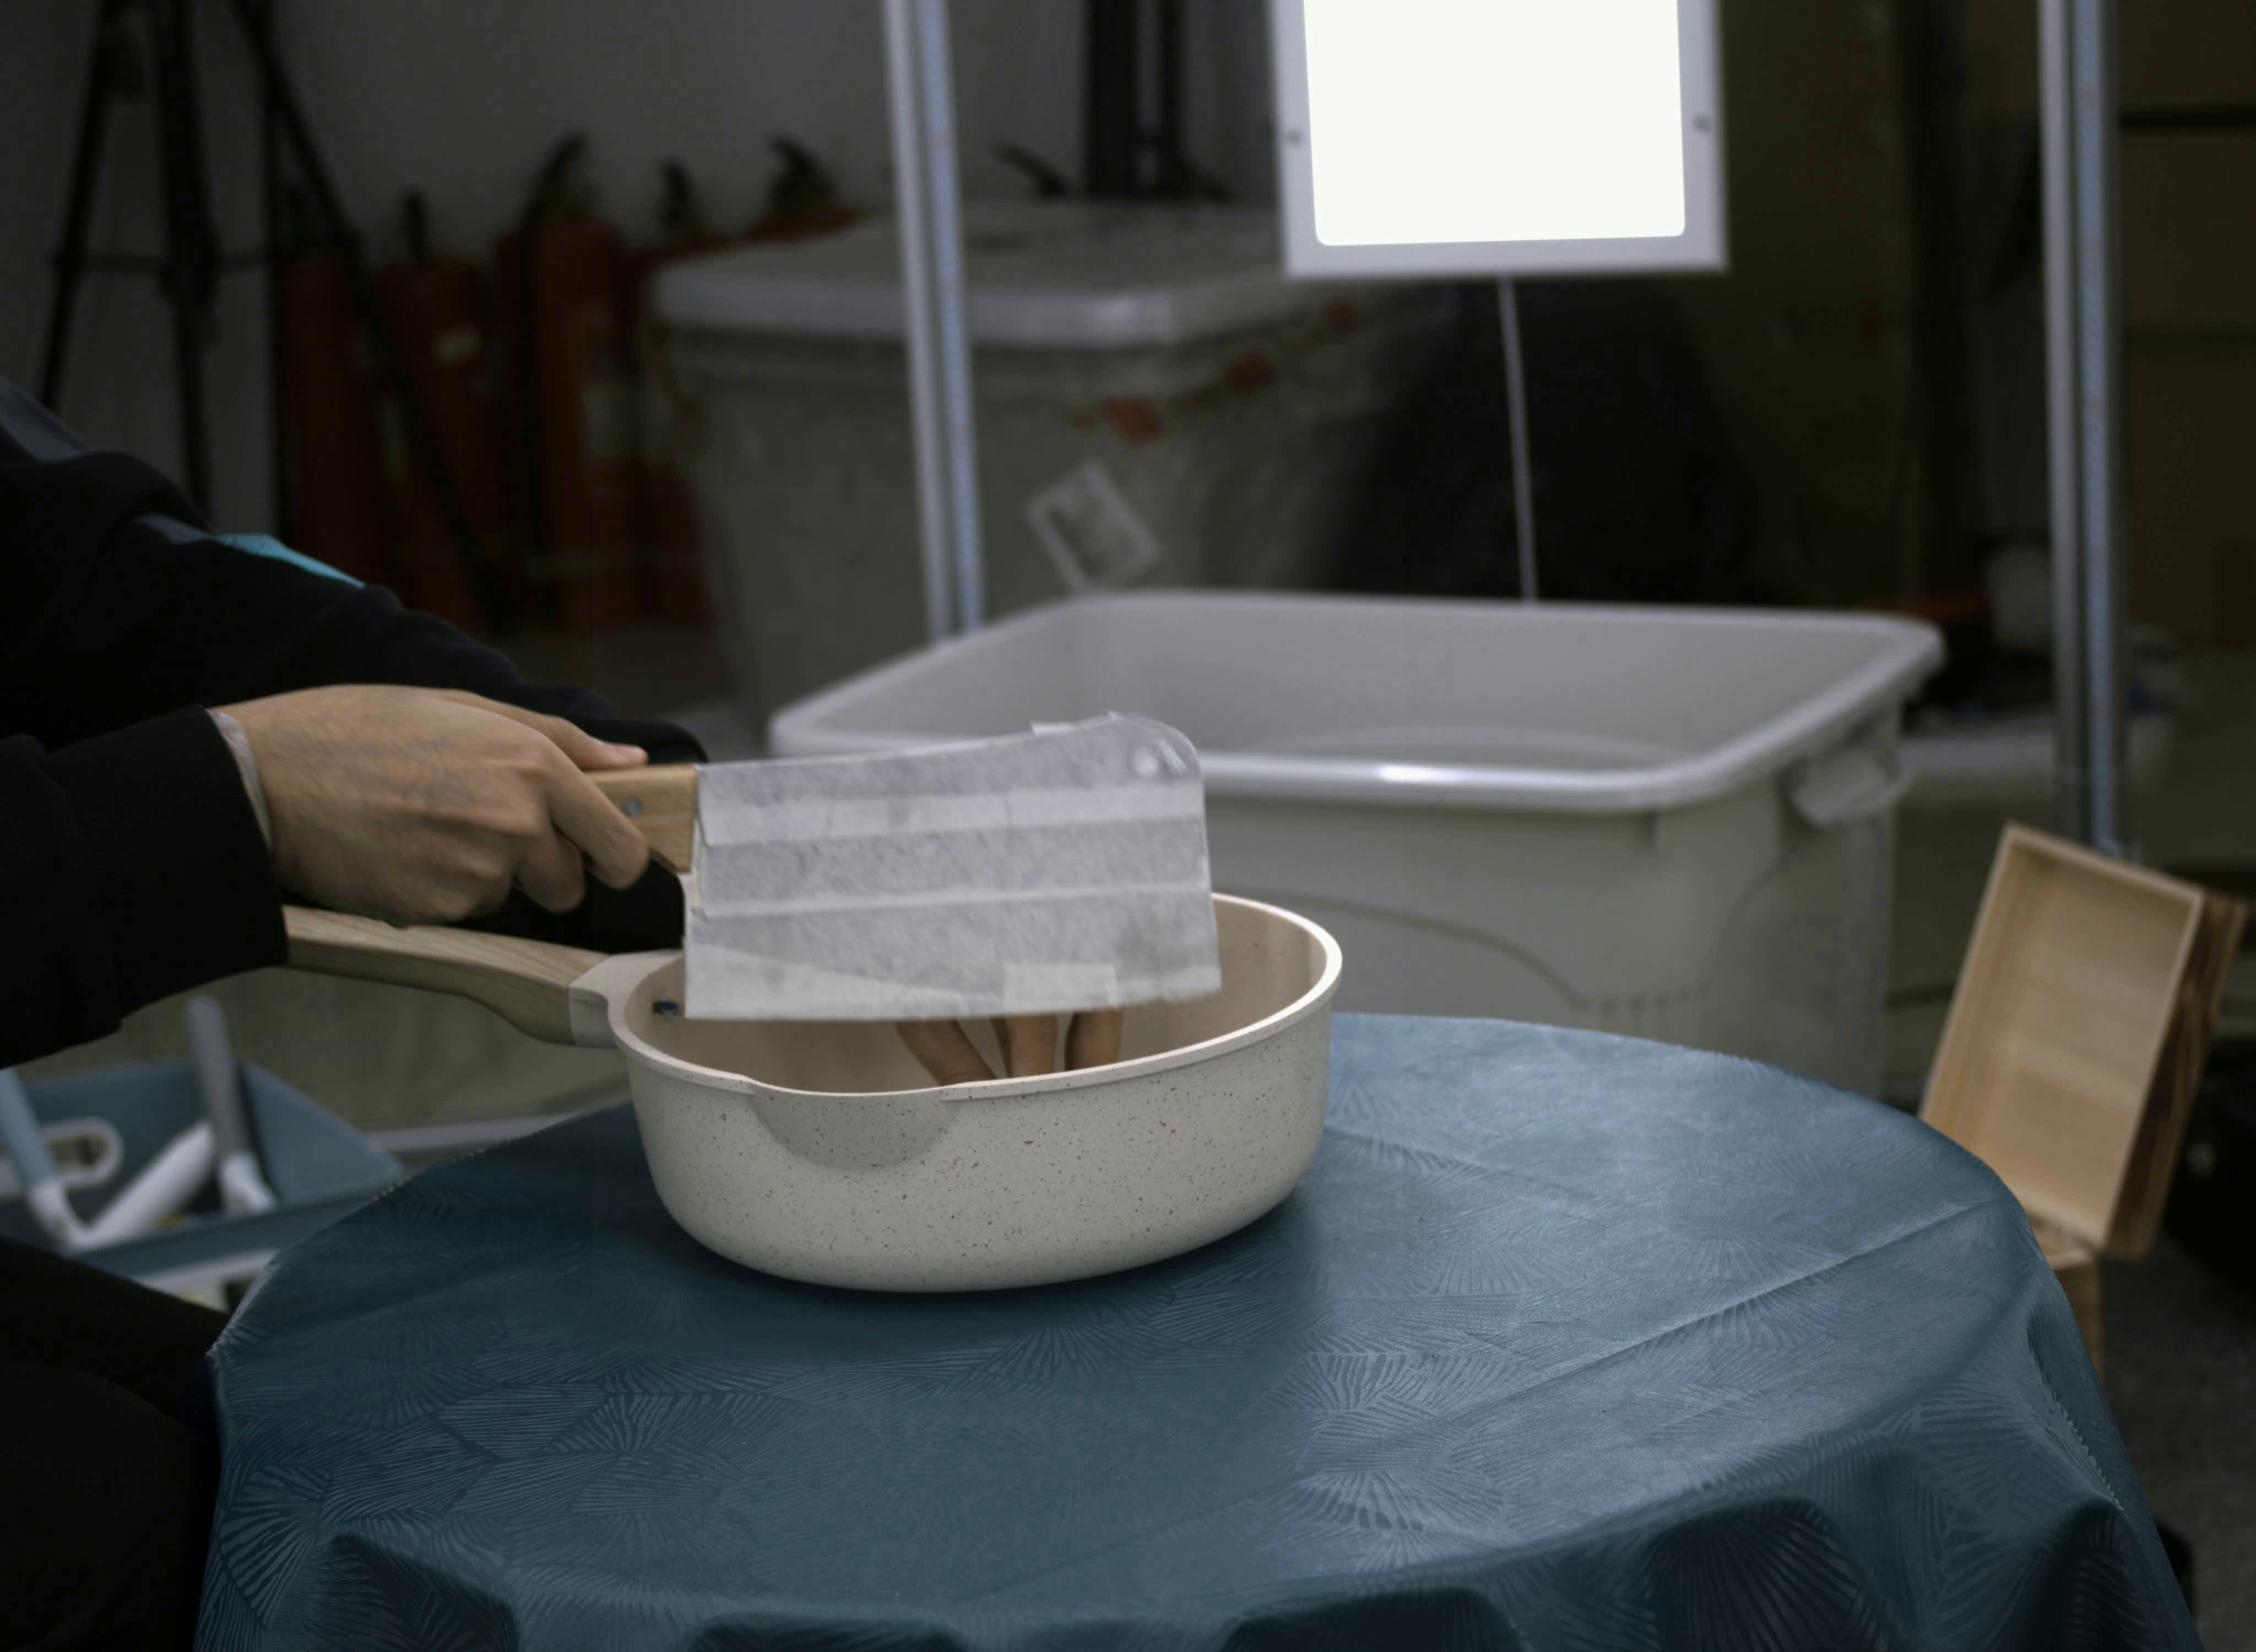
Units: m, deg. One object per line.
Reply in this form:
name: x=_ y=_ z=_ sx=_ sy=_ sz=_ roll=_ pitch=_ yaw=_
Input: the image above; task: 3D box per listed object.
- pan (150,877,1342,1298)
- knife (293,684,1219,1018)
pan: x=-0.136 y=0.083 z=1.919 sx=0.440 sy=0.102 sz=0.259 roll=0 pitch=17 yaw=20
knife: x=-0.122 y=0.008 z=1.856 sx=0.312 sy=0.114 sz=0.022 roll=0 pitch=4 yaw=-8
